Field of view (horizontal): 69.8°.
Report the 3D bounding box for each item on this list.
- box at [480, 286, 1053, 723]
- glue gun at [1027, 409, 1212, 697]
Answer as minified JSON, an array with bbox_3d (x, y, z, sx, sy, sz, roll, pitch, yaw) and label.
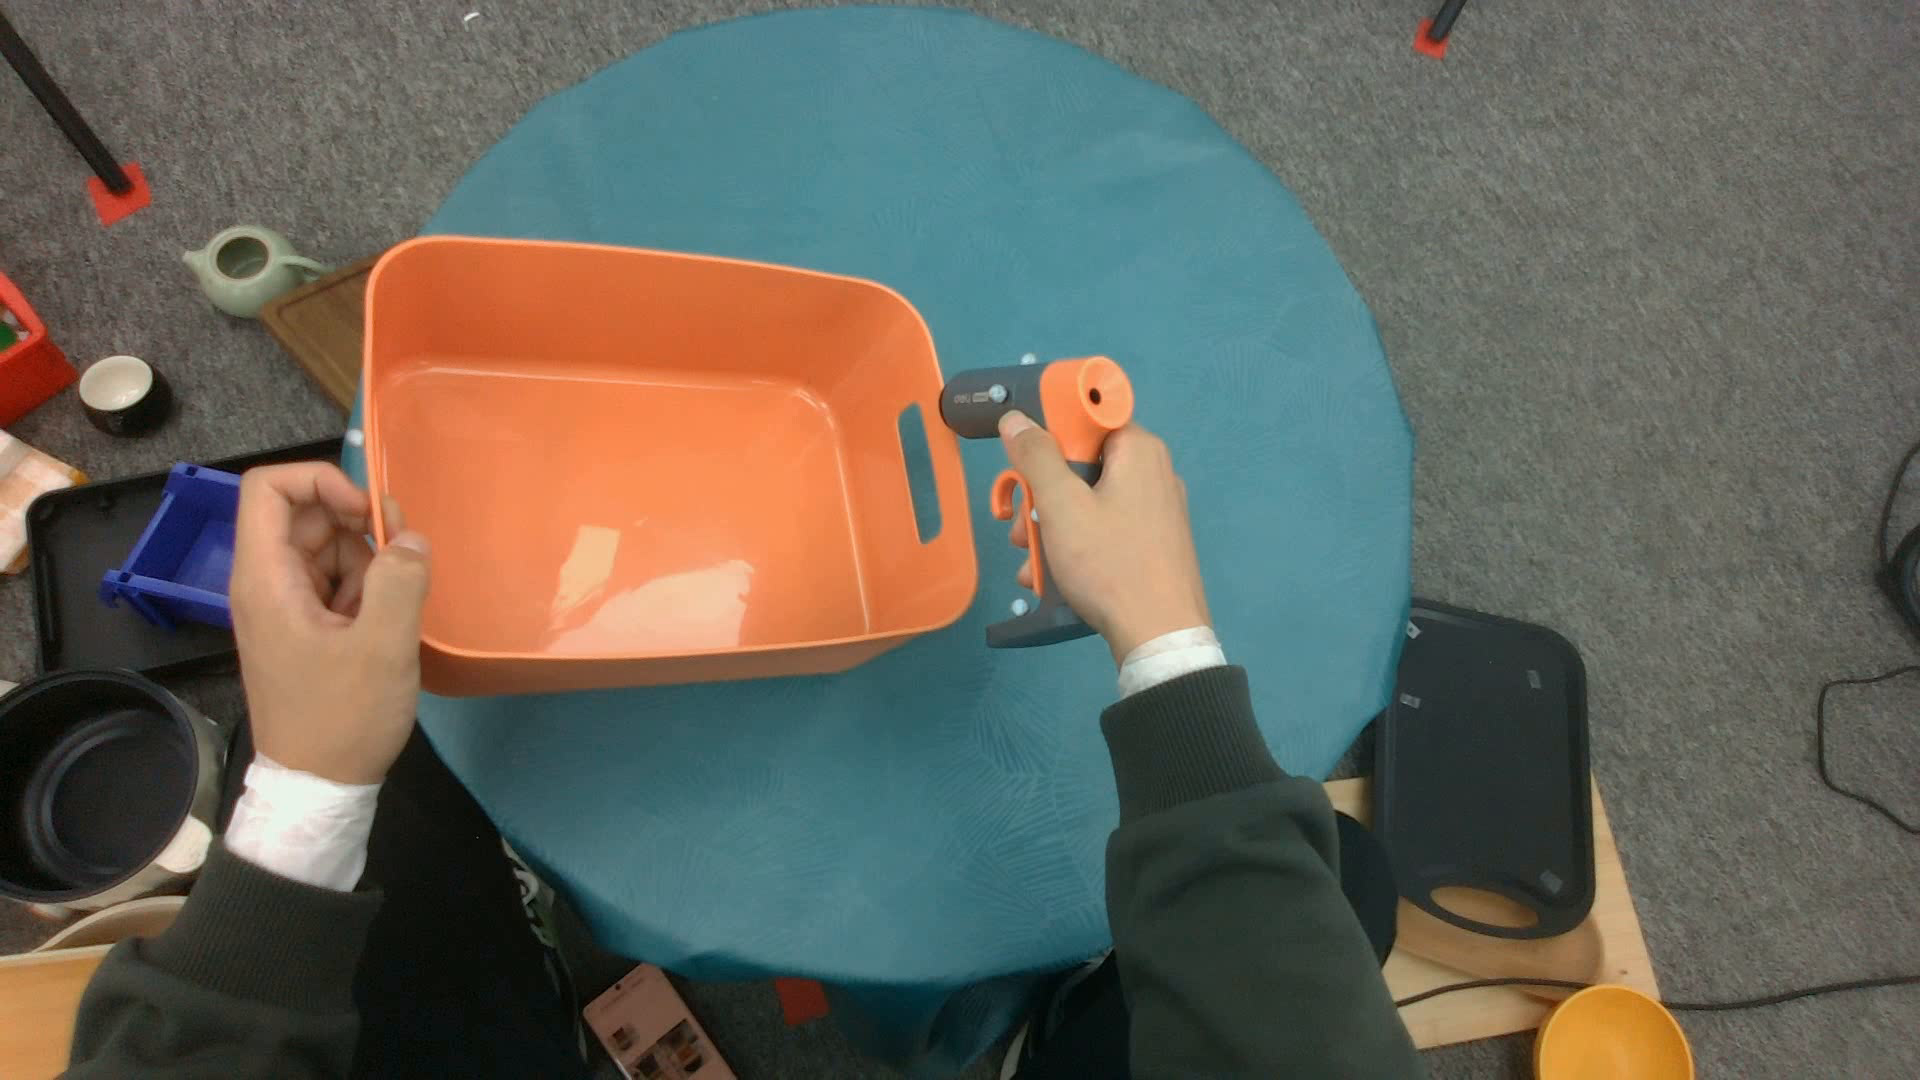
[{"bbox_3d":[-0.101,-0.007,0.683,0.274,0.102,0.200,2,67,-27],"label":"box"},{"bbox_3d":[0.072,0.000,0.651,0.041,0.117,0.140,5,72,-31],"label":"glue gun"}]
